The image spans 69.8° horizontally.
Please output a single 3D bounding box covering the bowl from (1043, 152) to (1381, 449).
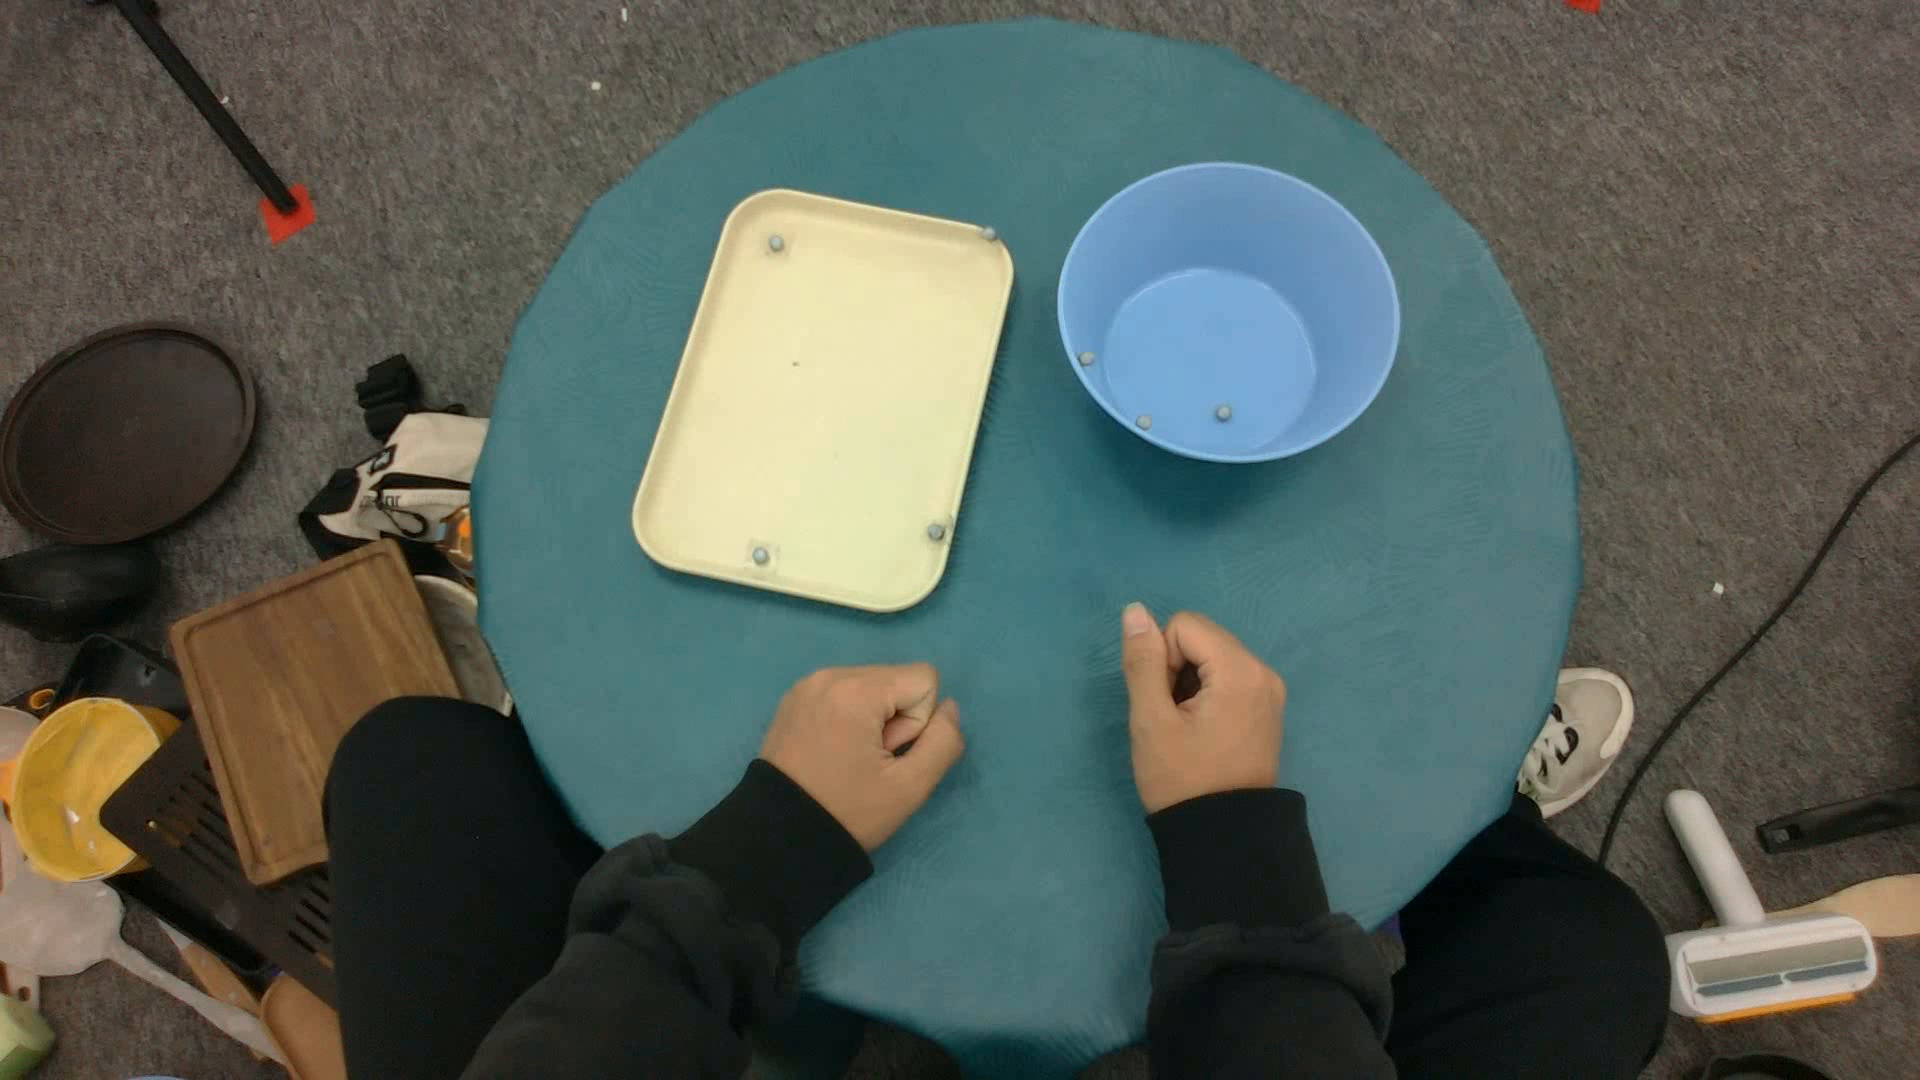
[{"bbox_3d":[0.132,-0.118,0.746,0.176,0.070,0.176,0,69,1],"label":"bowl"}]

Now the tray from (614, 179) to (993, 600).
[{"bbox_3d":[-0.082,-0.087,0.761,0.171,0.017,0.240,11,70,4],"label":"tray"}]
